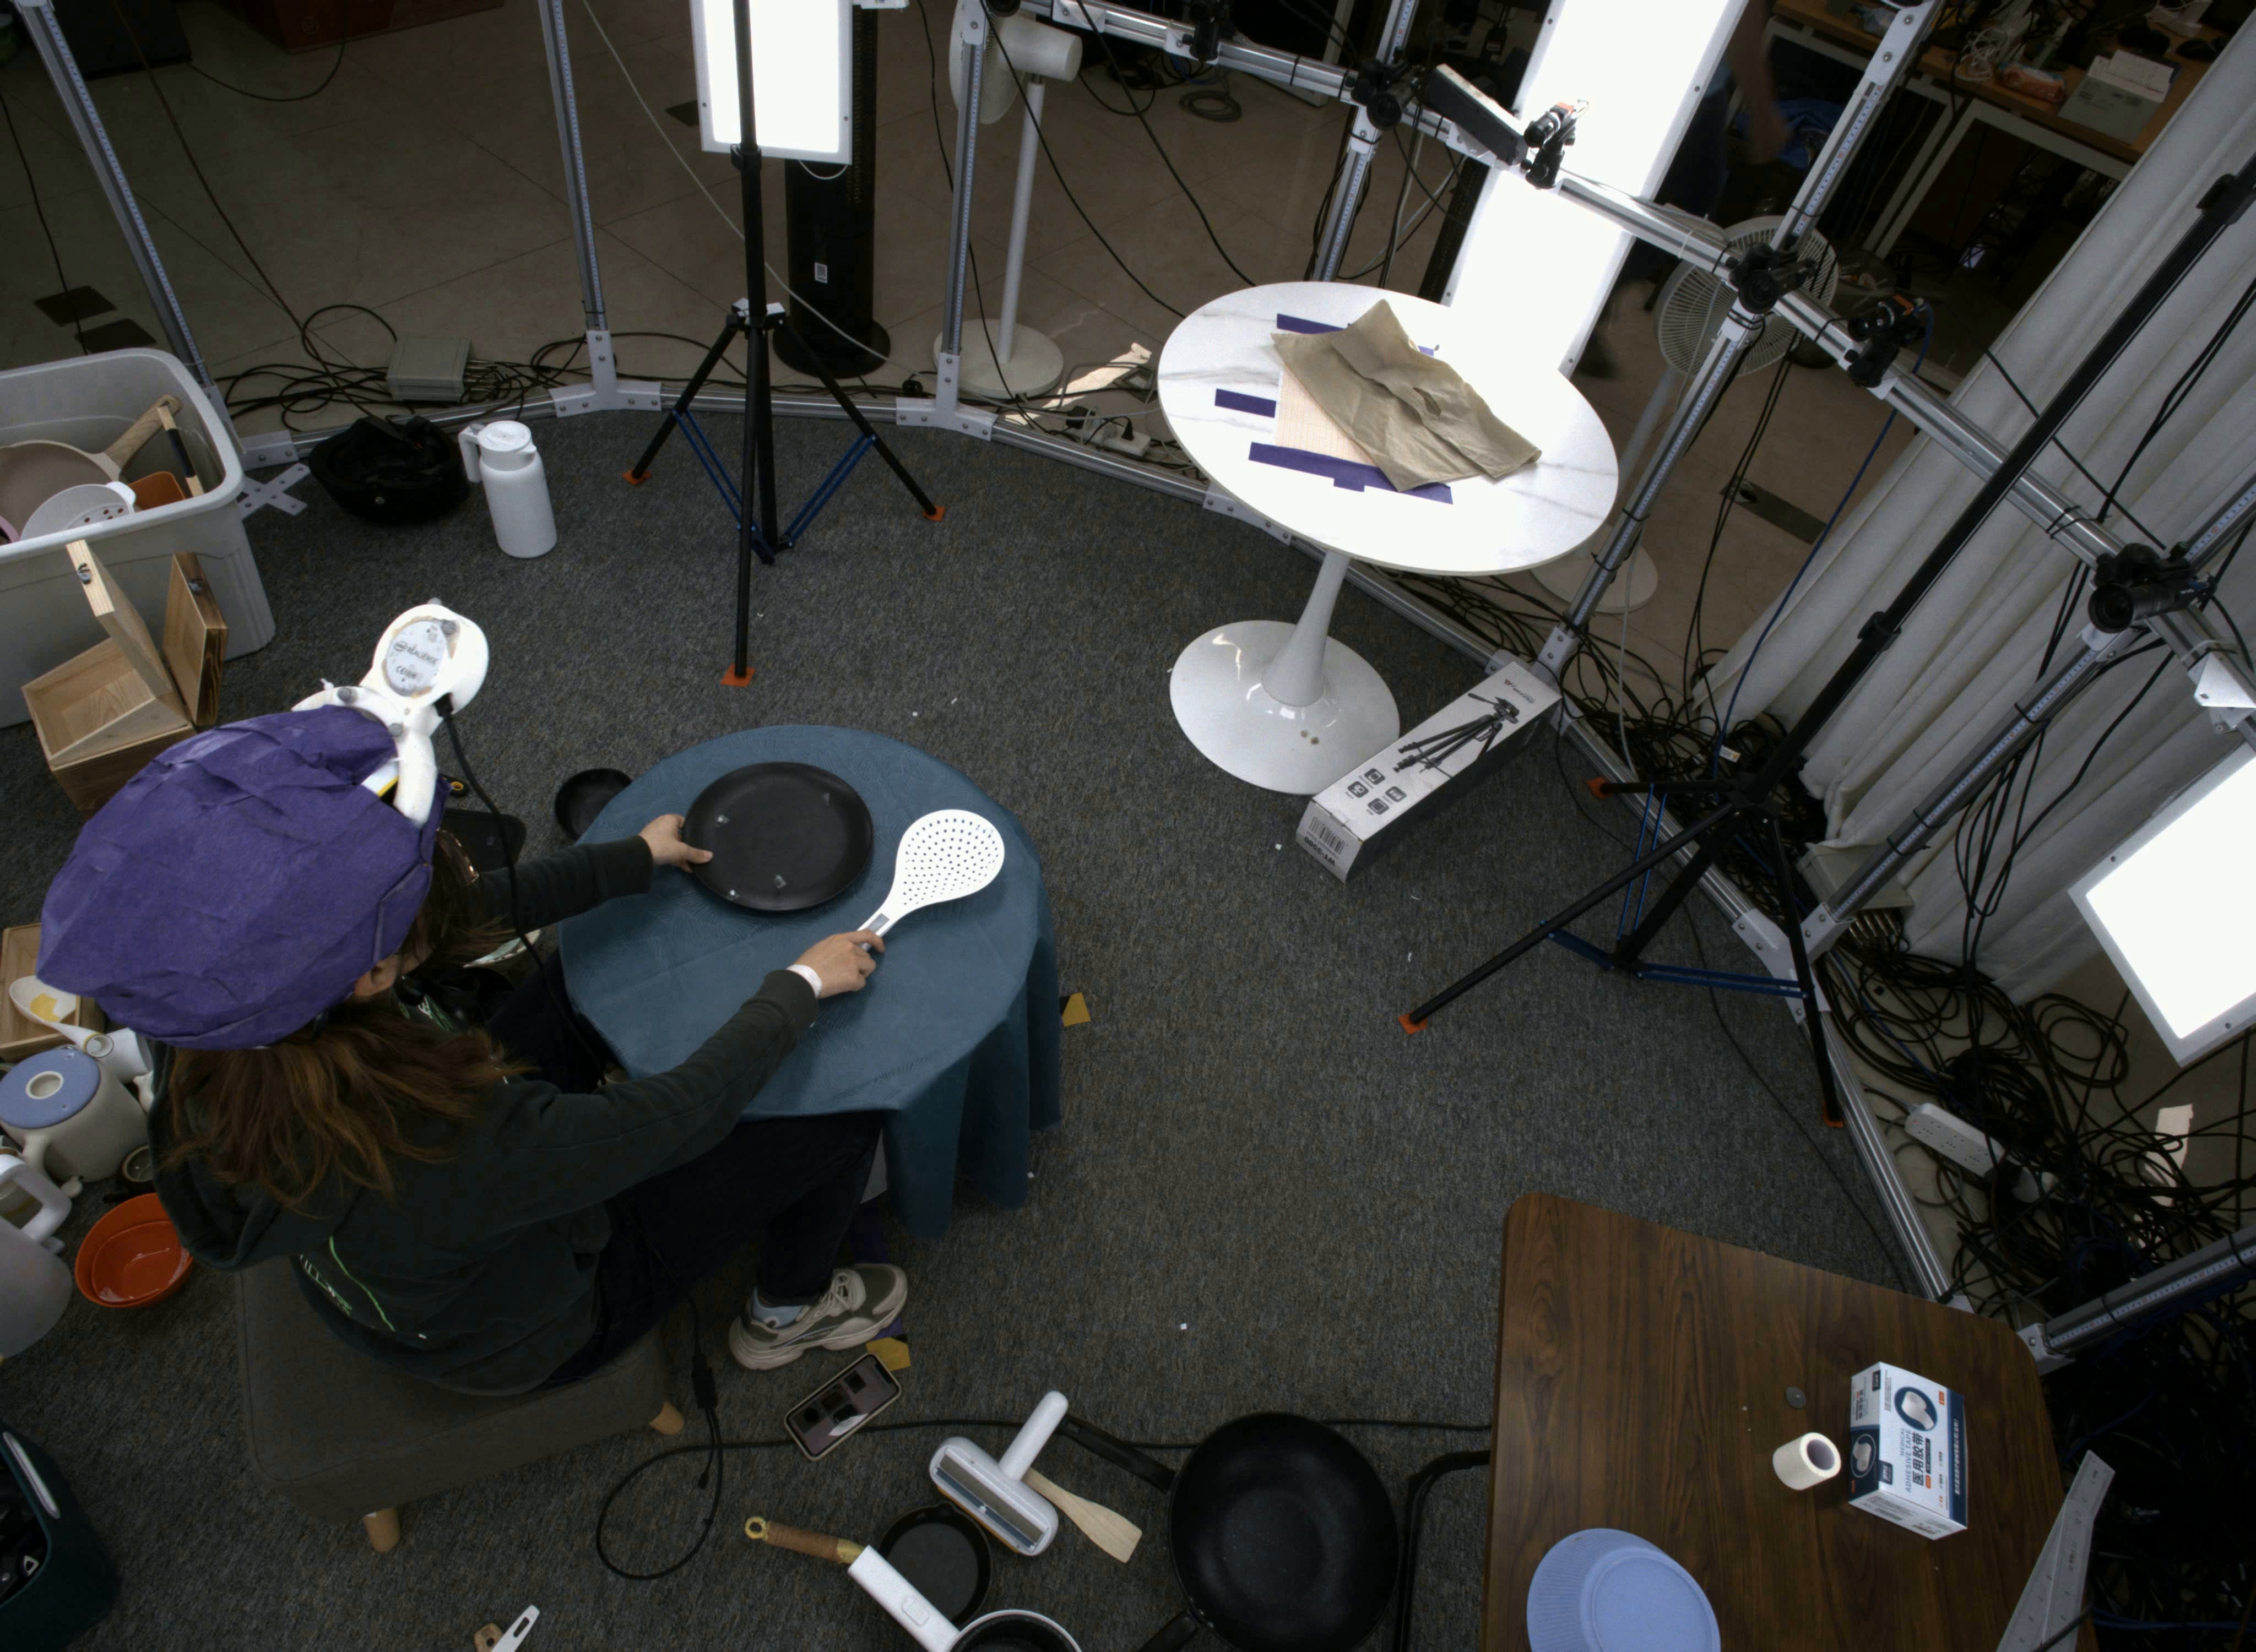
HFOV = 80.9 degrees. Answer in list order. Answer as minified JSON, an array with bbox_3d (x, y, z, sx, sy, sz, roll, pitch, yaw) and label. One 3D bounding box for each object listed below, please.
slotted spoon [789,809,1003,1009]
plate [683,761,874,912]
[{"bbox_3d":[-0.297,0.104,1.655,0.133,0.047,0.349,34,54,17],"label":"slotted spoon"},{"bbox_3d":[-0.456,0.014,1.694,0.244,0.024,0.240,8,52,-9],"label":"plate"}]
